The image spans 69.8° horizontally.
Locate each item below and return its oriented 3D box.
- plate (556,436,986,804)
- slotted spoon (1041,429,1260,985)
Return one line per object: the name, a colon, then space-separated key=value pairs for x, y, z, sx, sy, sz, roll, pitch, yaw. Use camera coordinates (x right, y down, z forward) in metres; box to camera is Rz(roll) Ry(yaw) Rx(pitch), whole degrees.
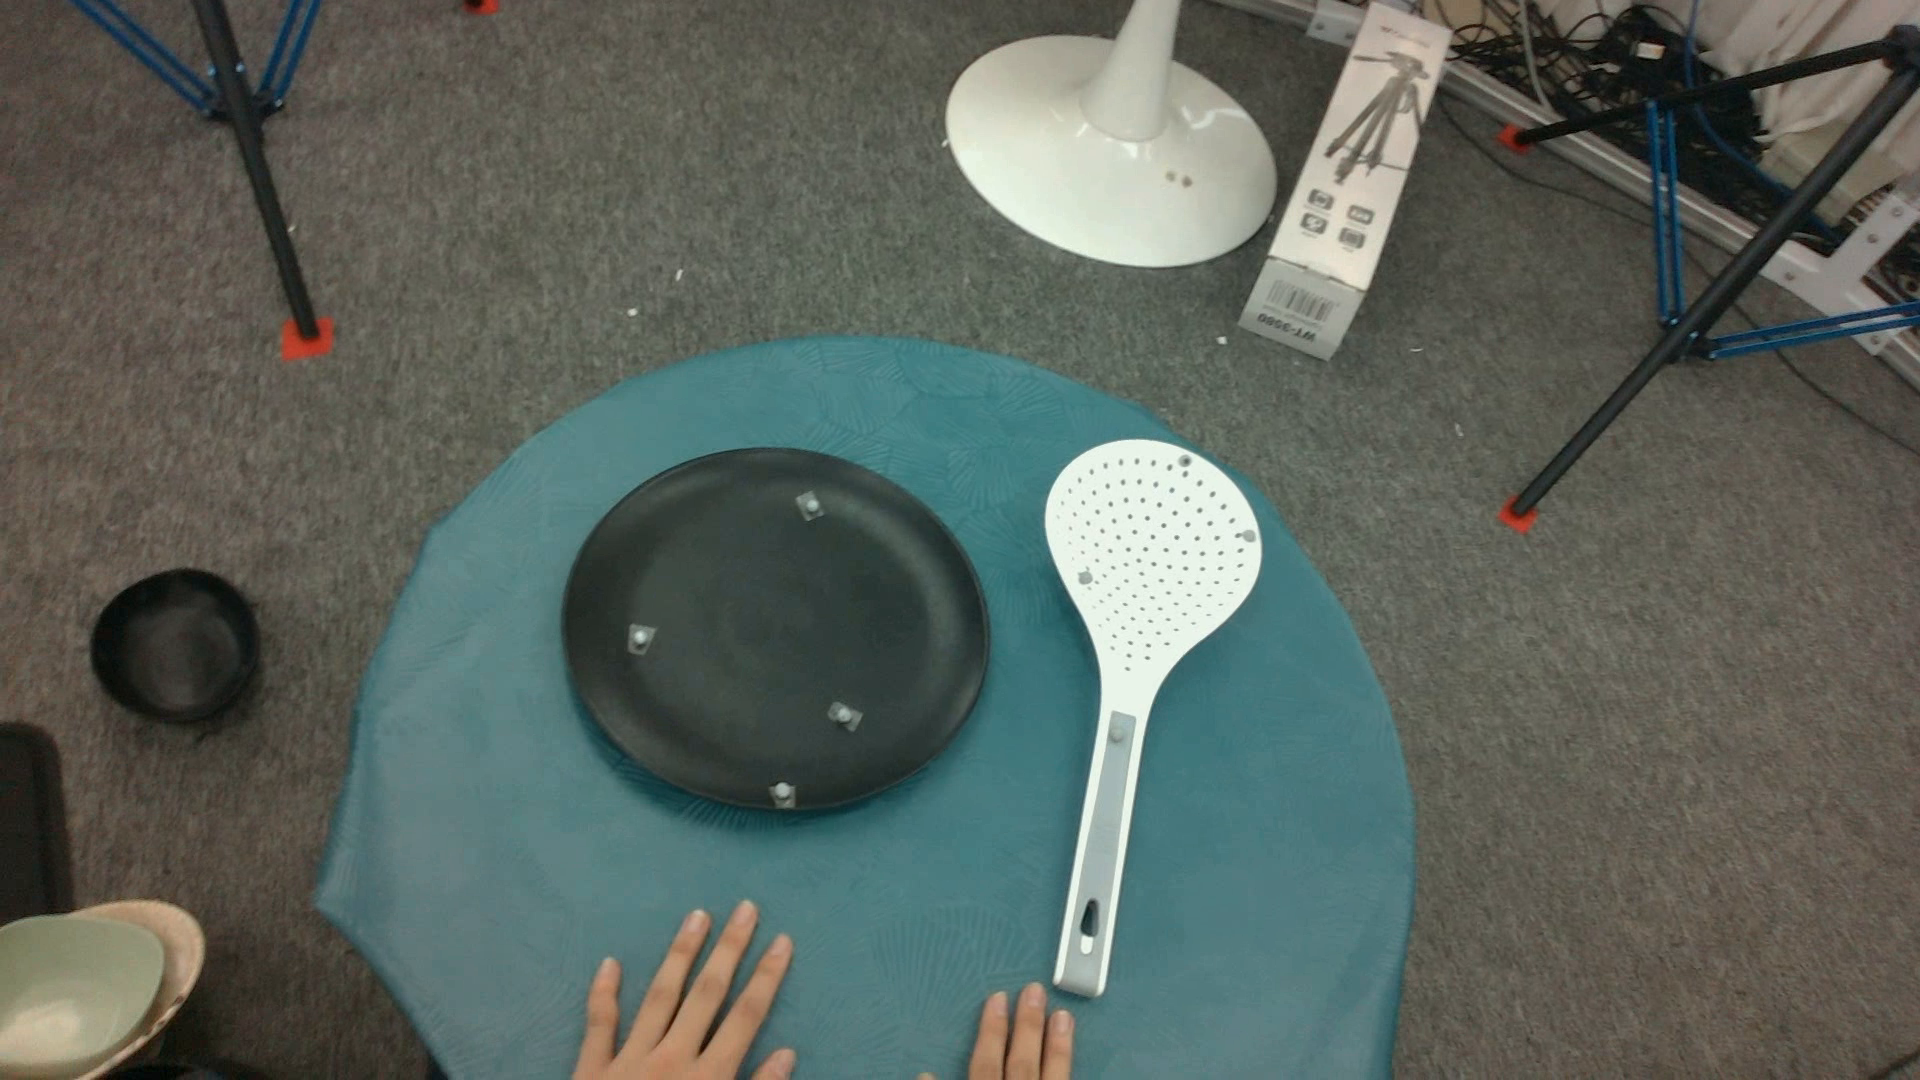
plate: x=-0.106 y=0.042 z=0.794 sx=0.244 sy=0.023 sz=0.245 roll=6 pitch=55 yaw=-9
slotted spoon: x=0.095 y=0.083 z=0.801 sx=0.136 sy=0.045 sz=0.351 roll=15 pitch=55 yaw=0
